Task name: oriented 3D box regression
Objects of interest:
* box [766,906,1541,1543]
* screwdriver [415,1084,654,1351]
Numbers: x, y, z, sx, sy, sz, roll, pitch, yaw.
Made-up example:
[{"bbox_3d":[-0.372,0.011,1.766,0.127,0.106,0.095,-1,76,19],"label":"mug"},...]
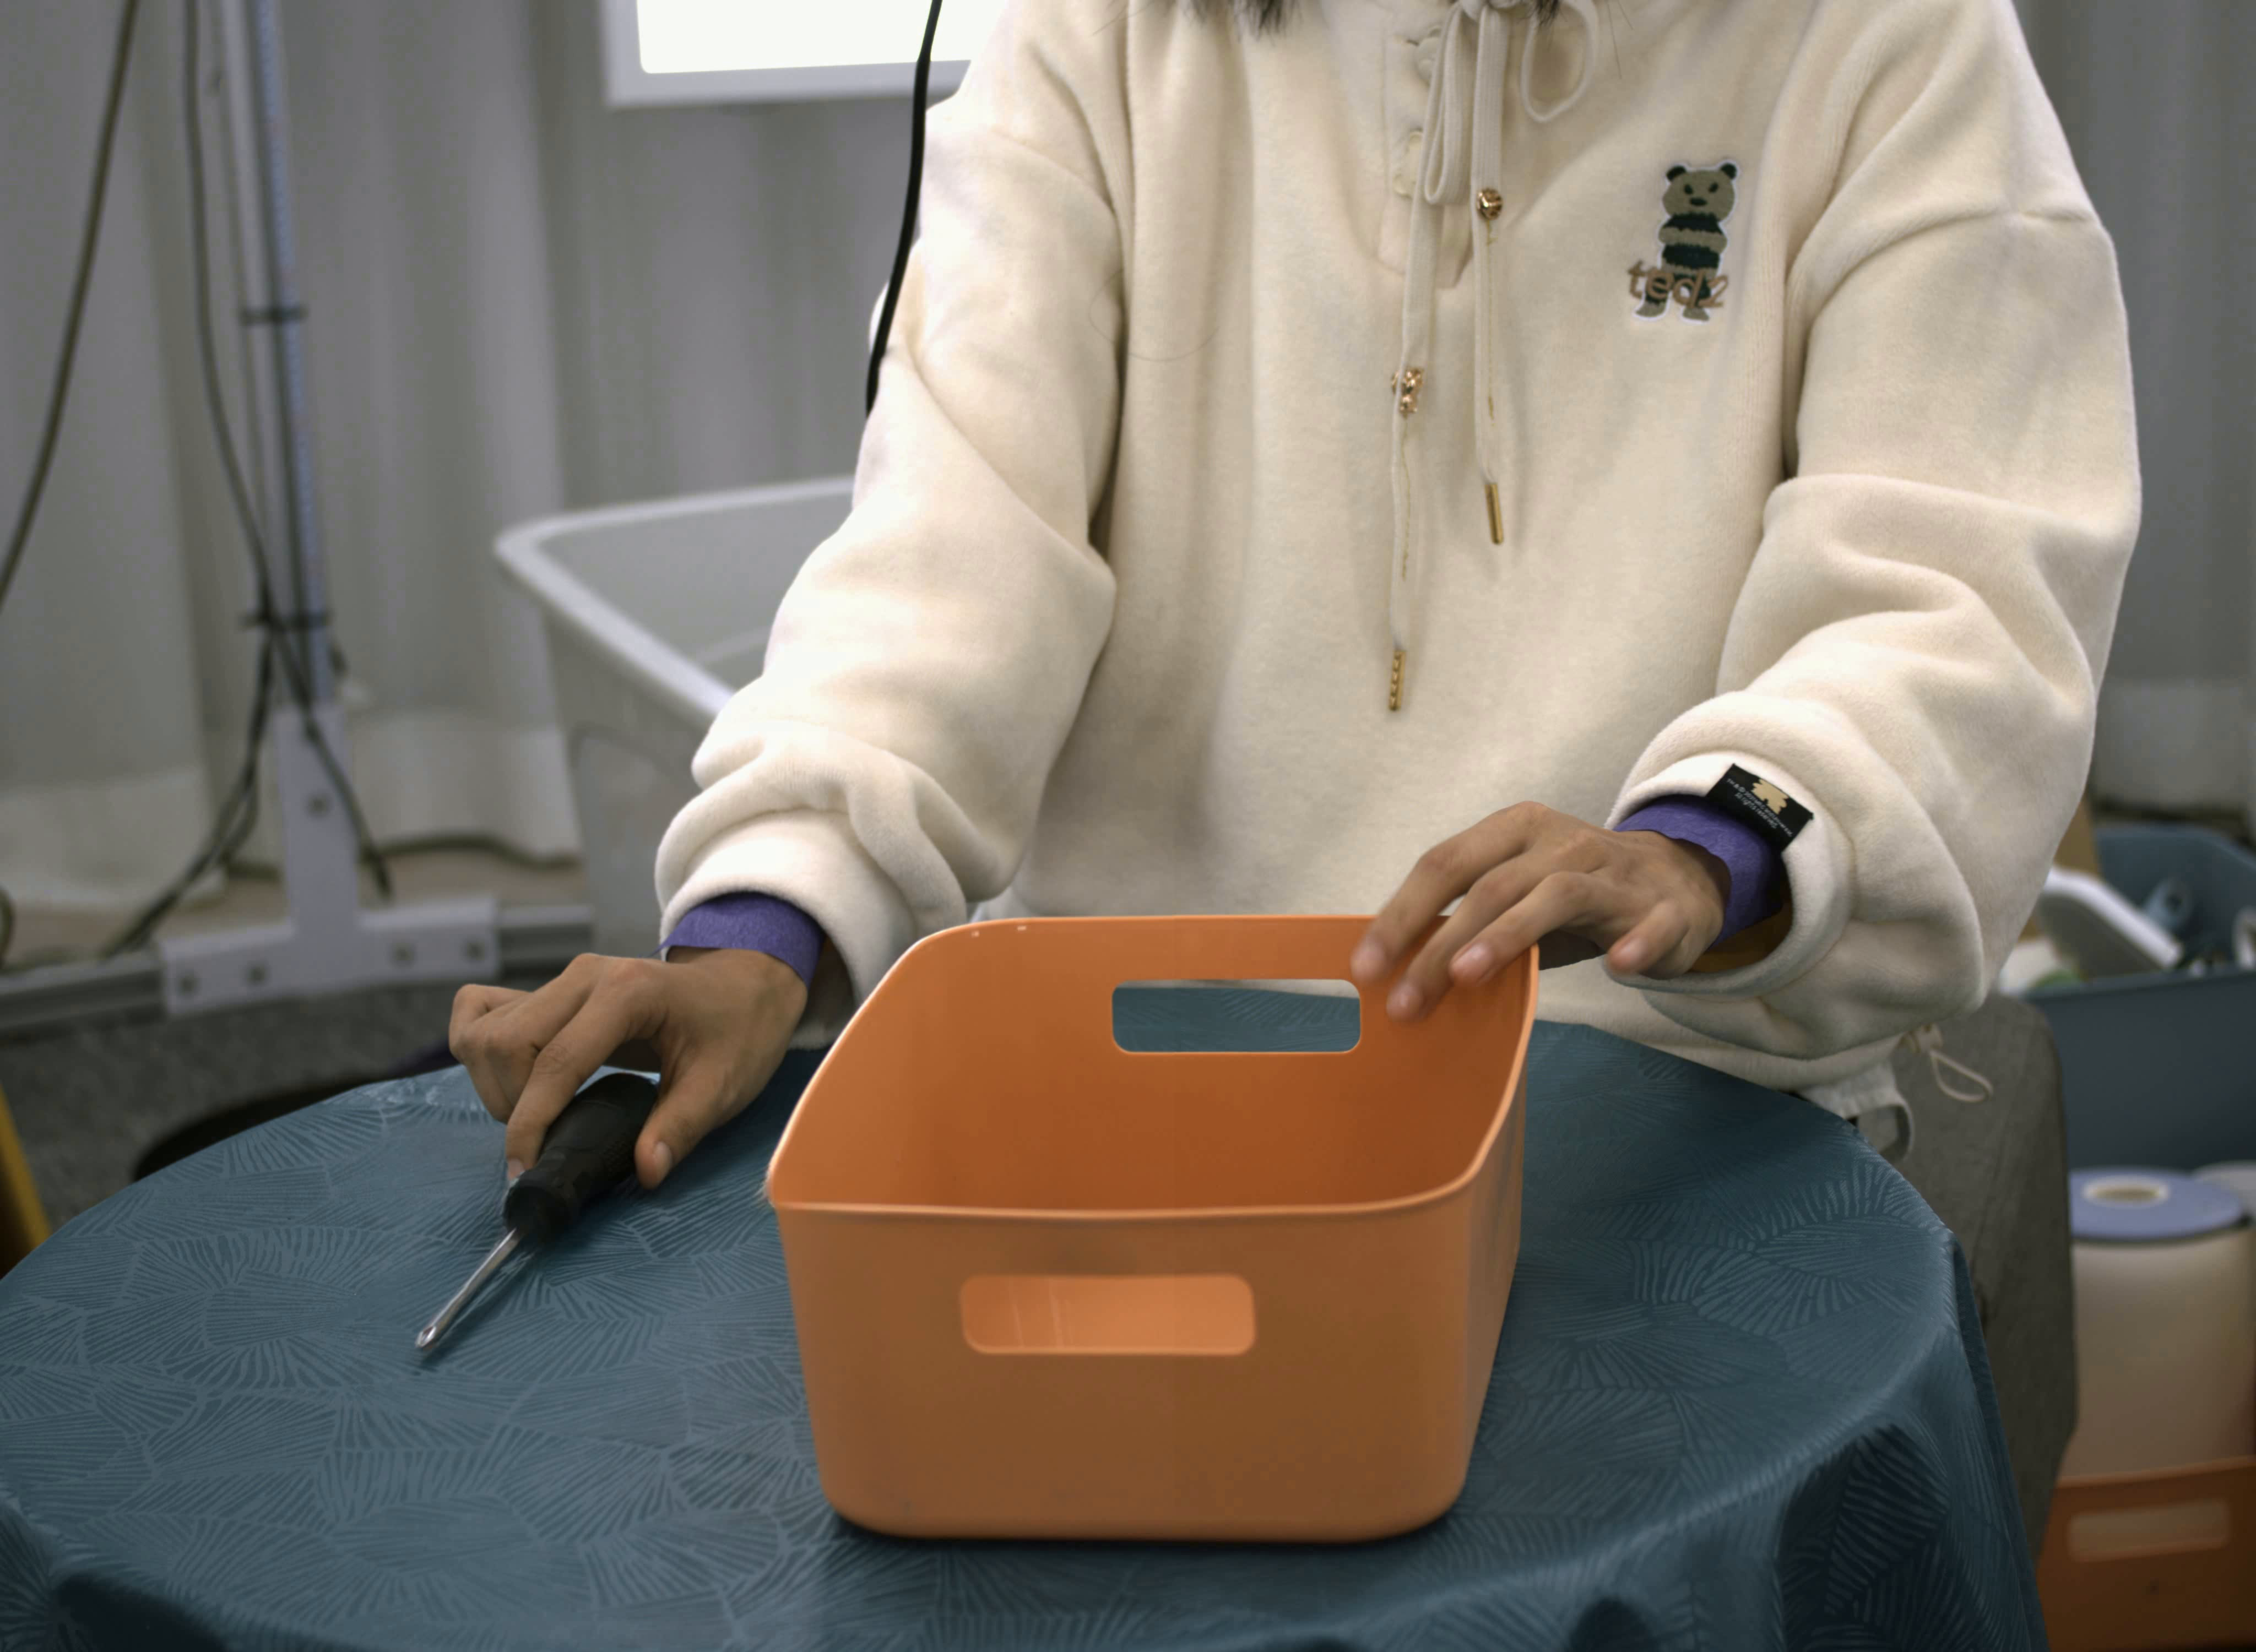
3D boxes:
[{"bbox_3d":[0.016,0.108,1.530,0.199,0.102,0.275,-1,15,9],"label":"box"},{"bbox_3d":[-0.187,0.123,1.685,0.031,0.031,0.197,2,19,16],"label":"screwdriver"}]
